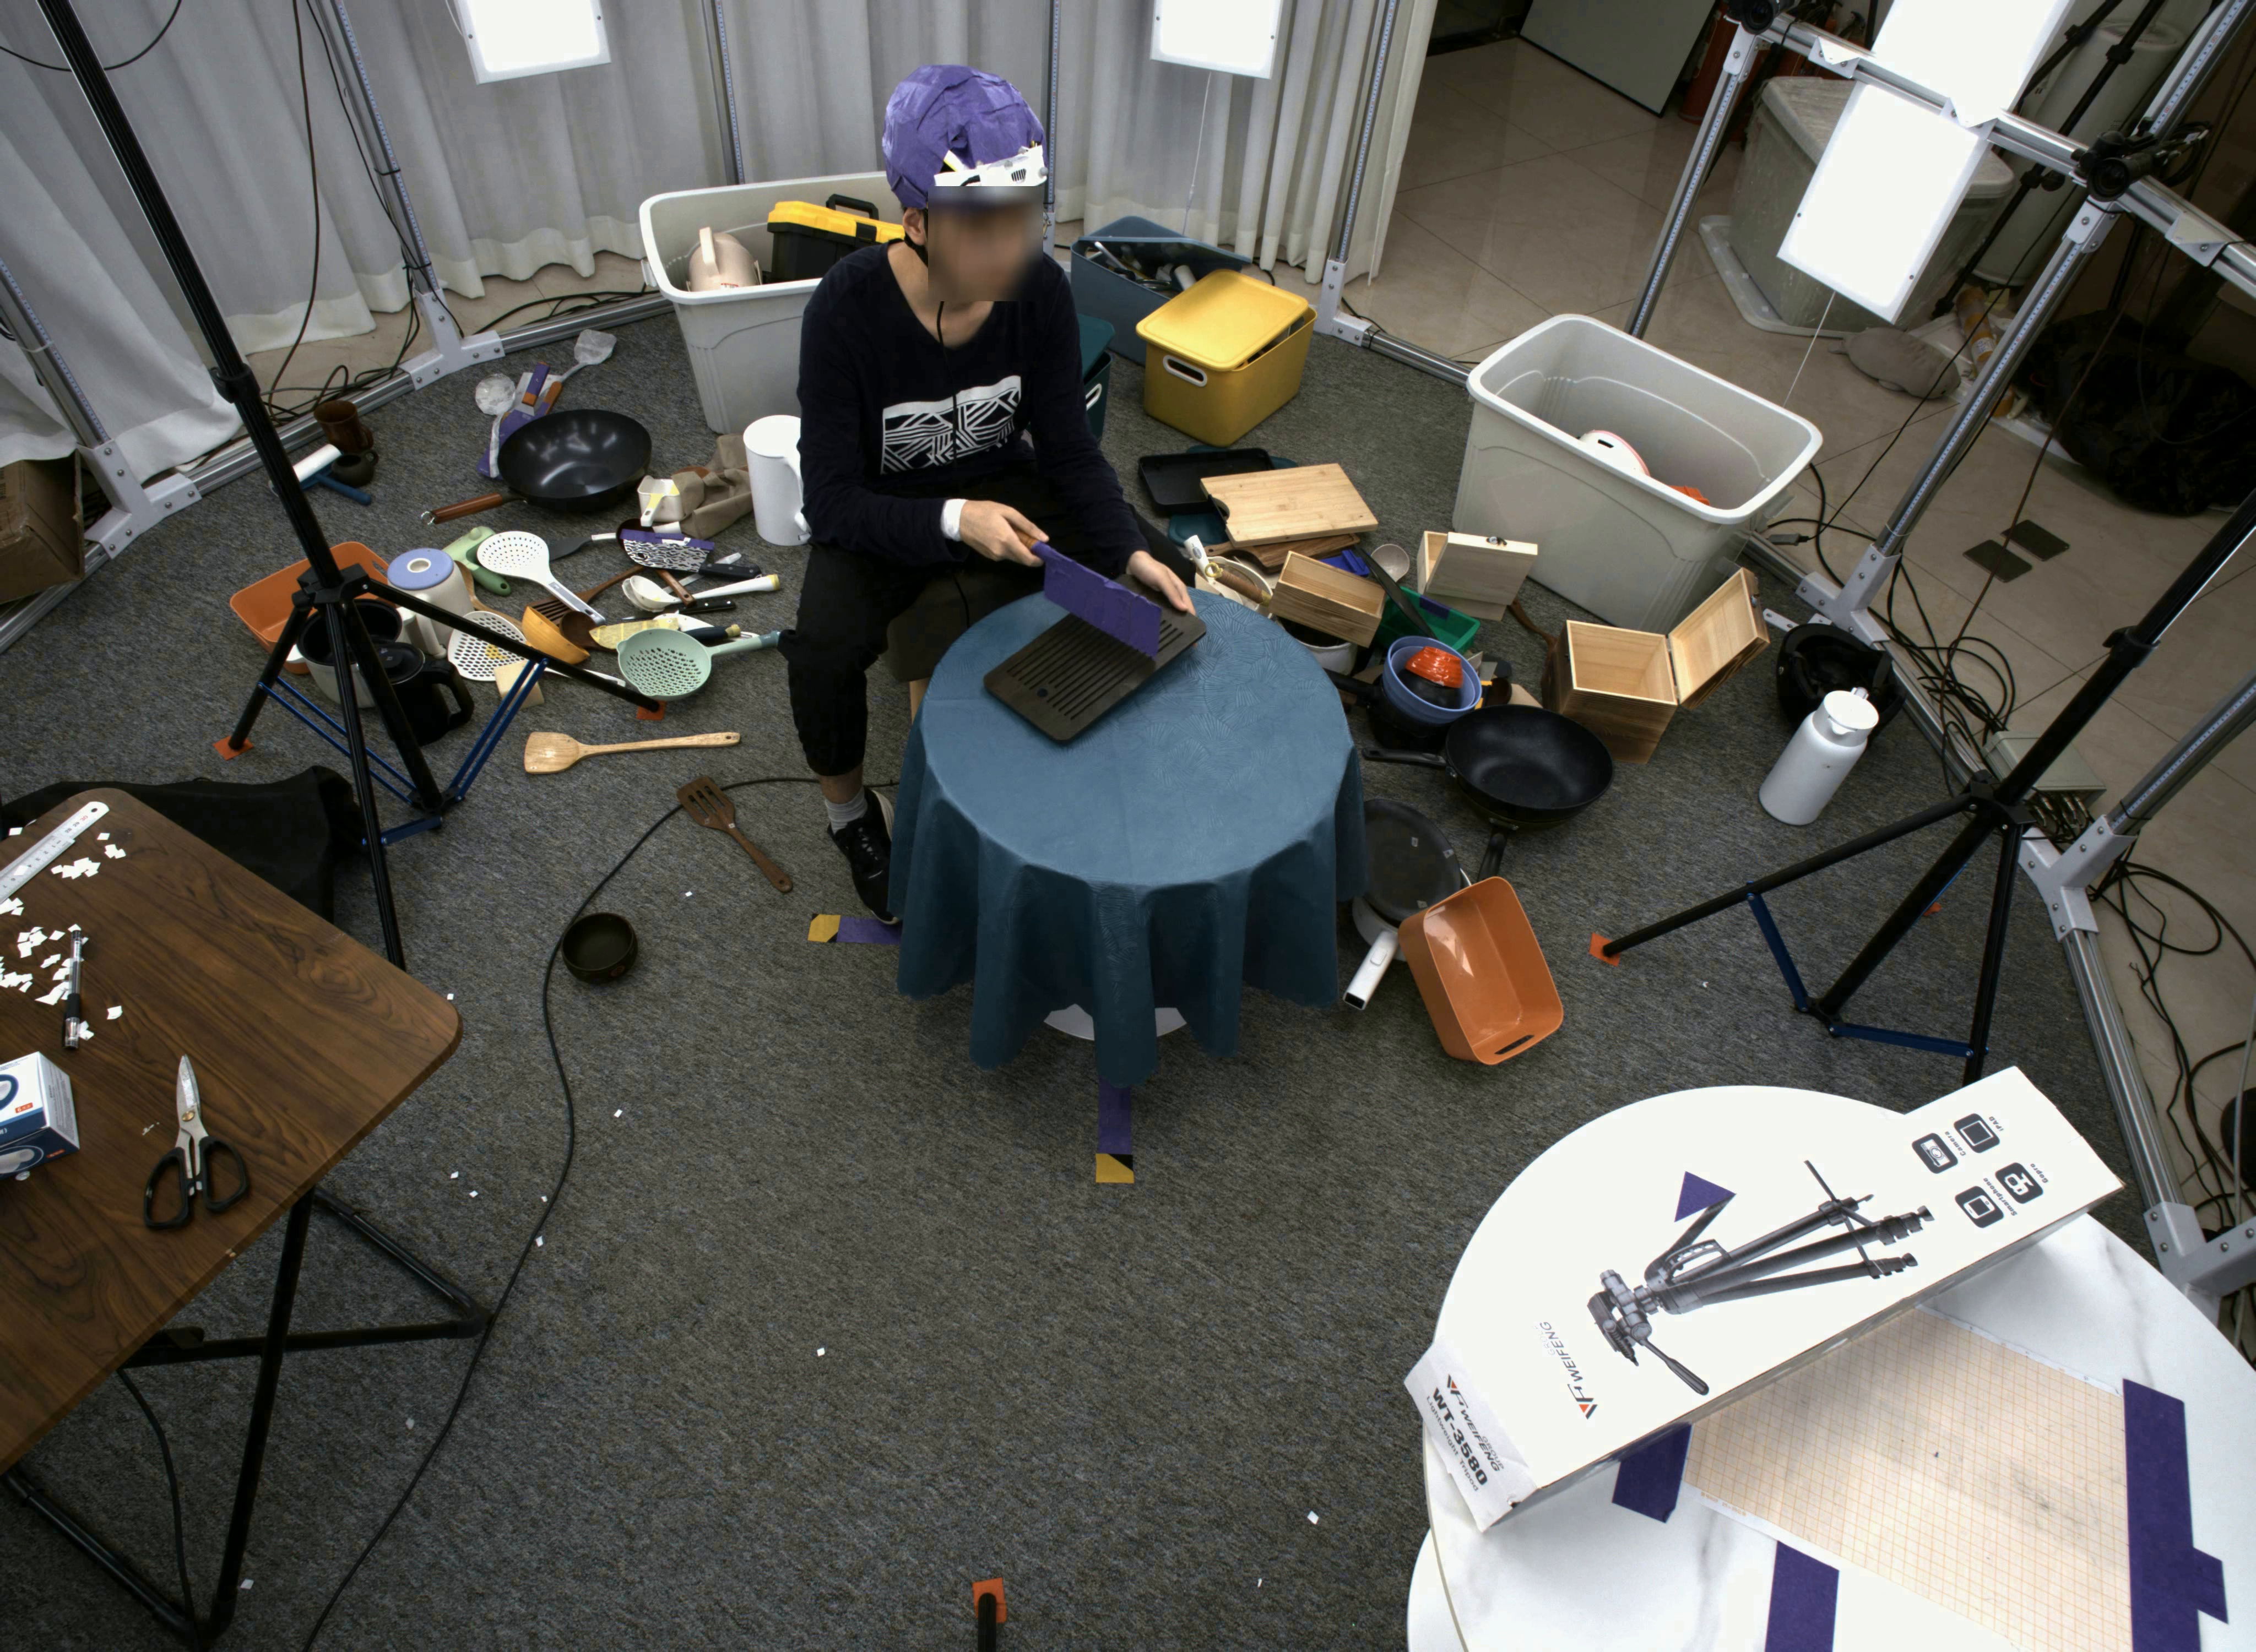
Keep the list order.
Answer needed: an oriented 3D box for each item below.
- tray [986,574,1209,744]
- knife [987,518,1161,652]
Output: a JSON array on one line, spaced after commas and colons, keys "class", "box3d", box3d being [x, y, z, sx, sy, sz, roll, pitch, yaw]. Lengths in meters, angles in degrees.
[{"class": "tray", "box3d": [-0.041, -0.243, 1.846, 0.172, 0.018, 0.309, 37, 61, 26]}, {"class": "knife", "box3d": [-0.080, -0.343, 1.856, 0.319, 0.101, 0.032, 33, 50, 26]}]
